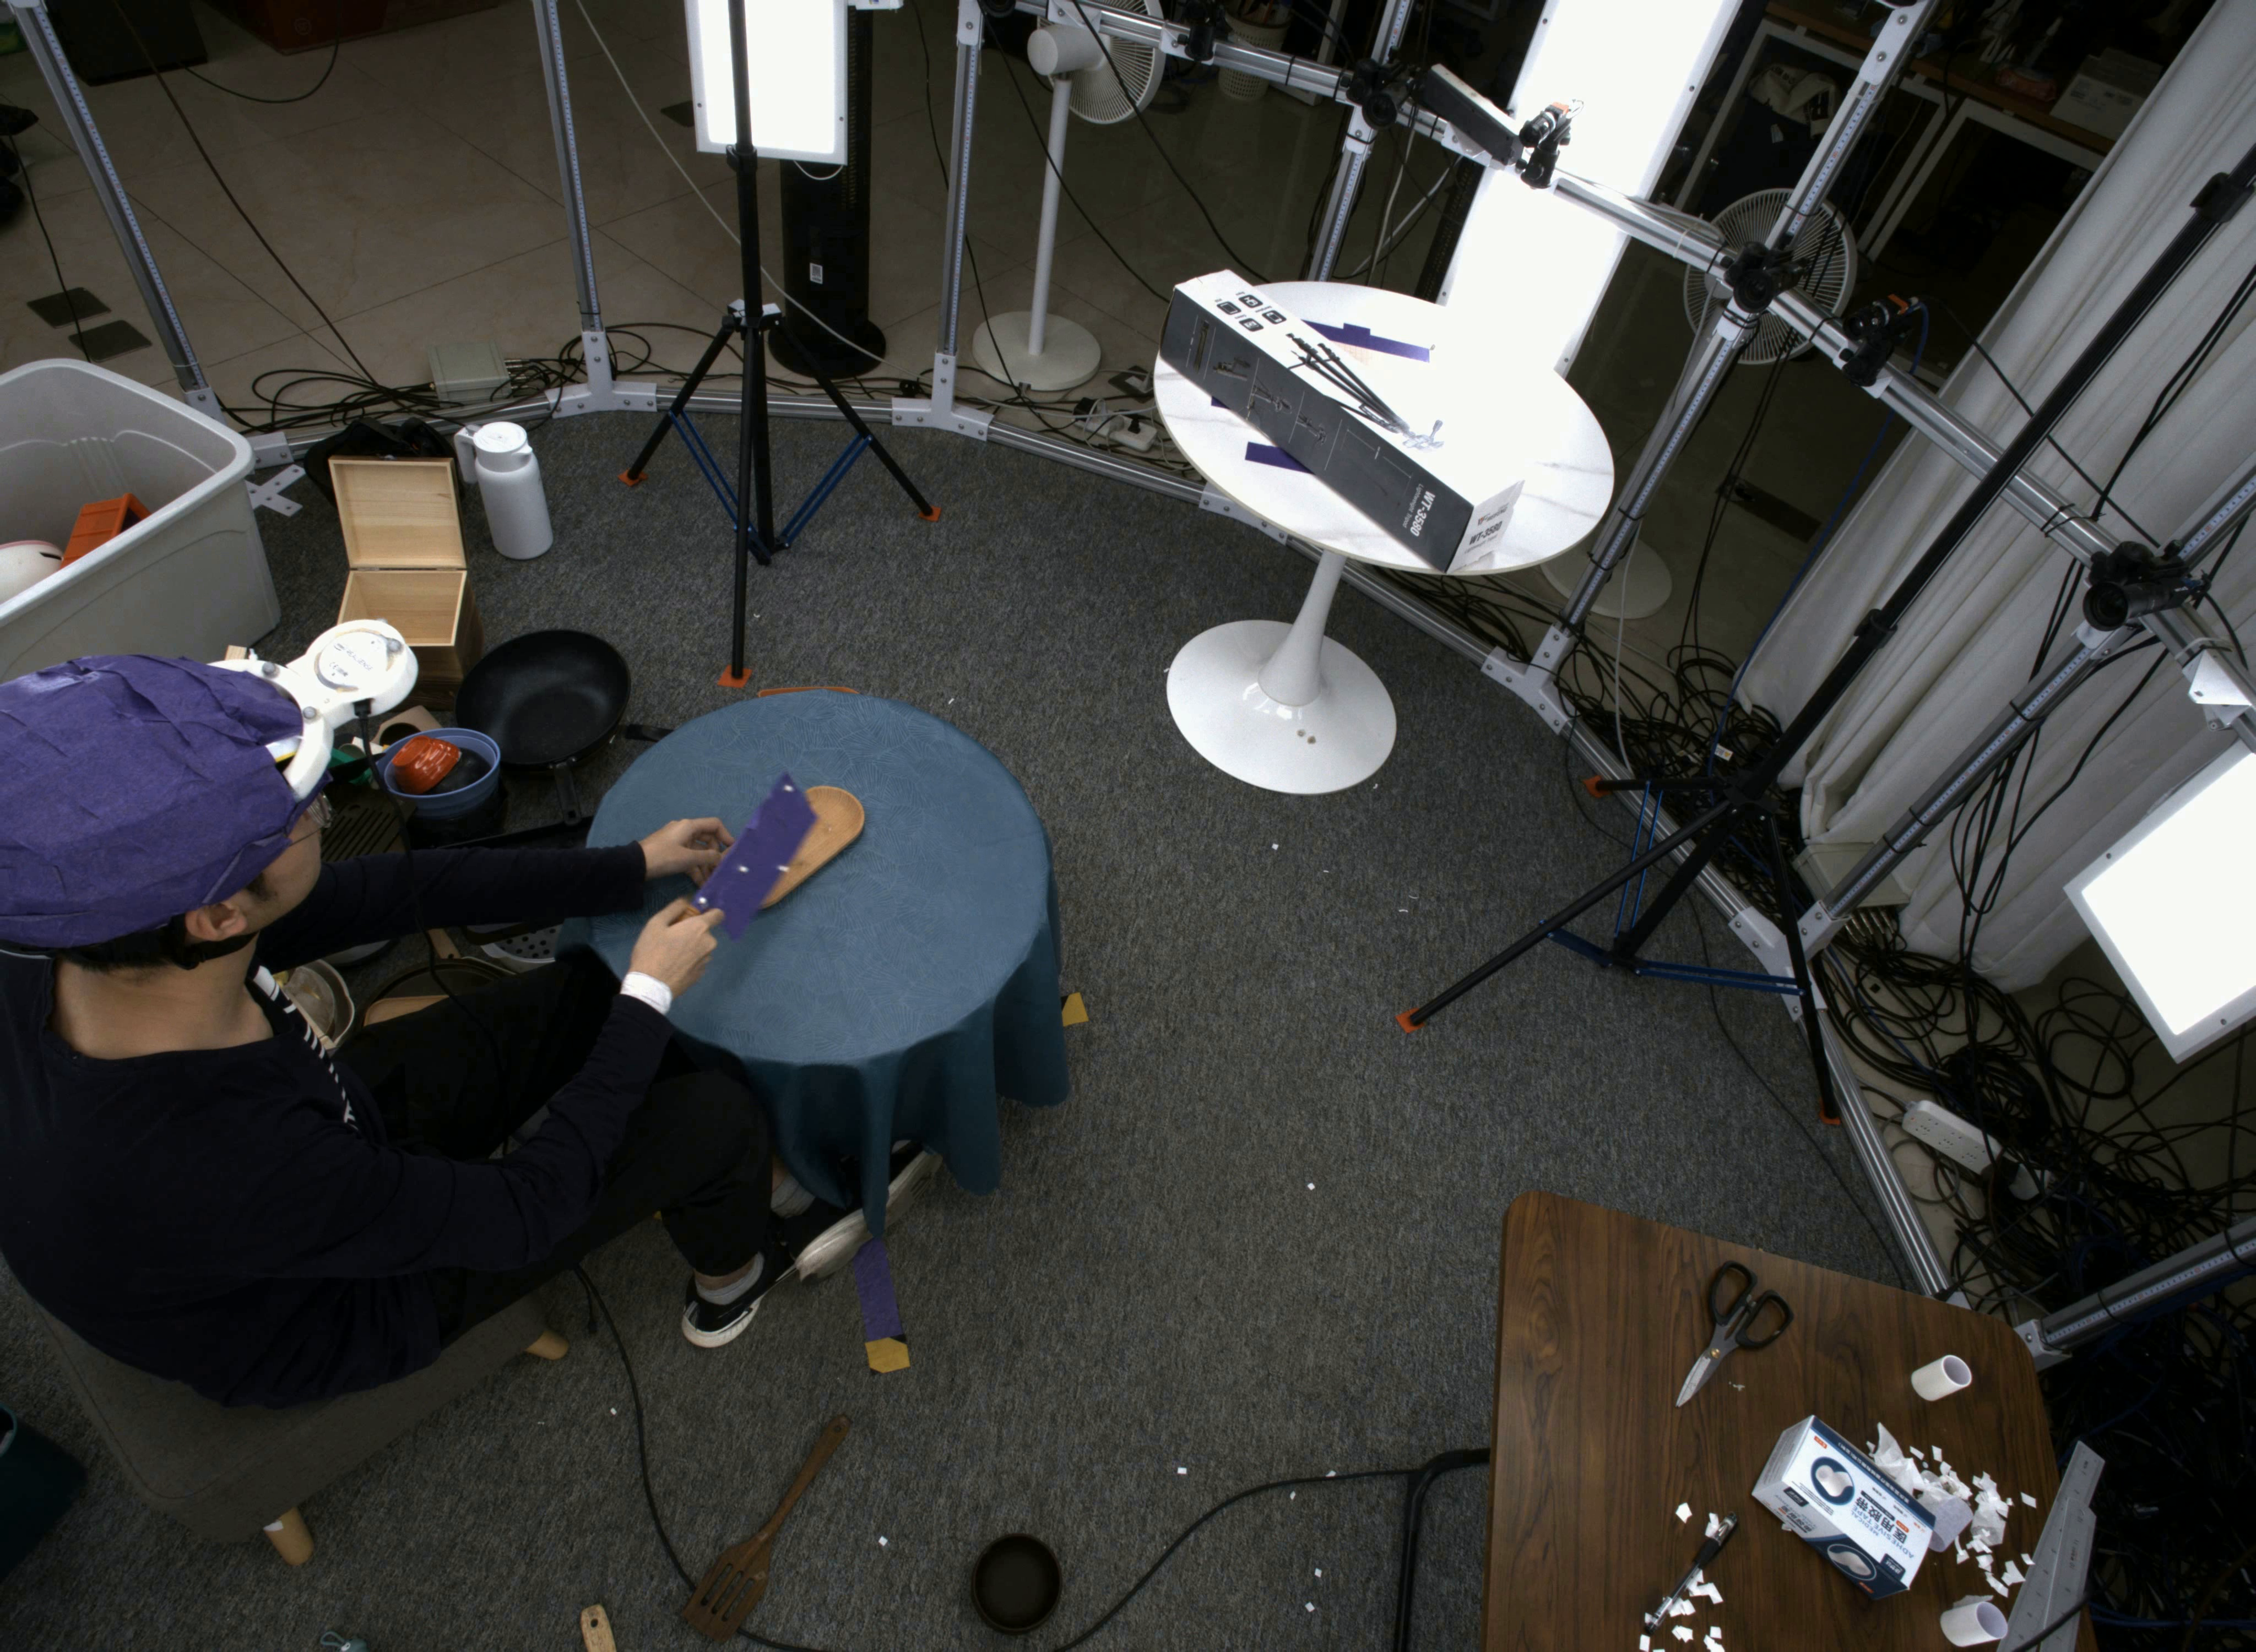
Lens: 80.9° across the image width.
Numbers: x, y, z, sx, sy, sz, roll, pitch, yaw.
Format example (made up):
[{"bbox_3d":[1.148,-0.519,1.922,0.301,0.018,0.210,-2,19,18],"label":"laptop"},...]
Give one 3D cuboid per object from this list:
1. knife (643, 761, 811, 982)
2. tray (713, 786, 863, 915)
[{"bbox_3d":[-0.464,0.068,1.536,0.031,0.108,0.313,7,52,26],"label":"knife"},{"bbox_3d":[-0.443,0.029,1.697,0.100,0.021,0.231,36,55,11],"label":"tray"}]
